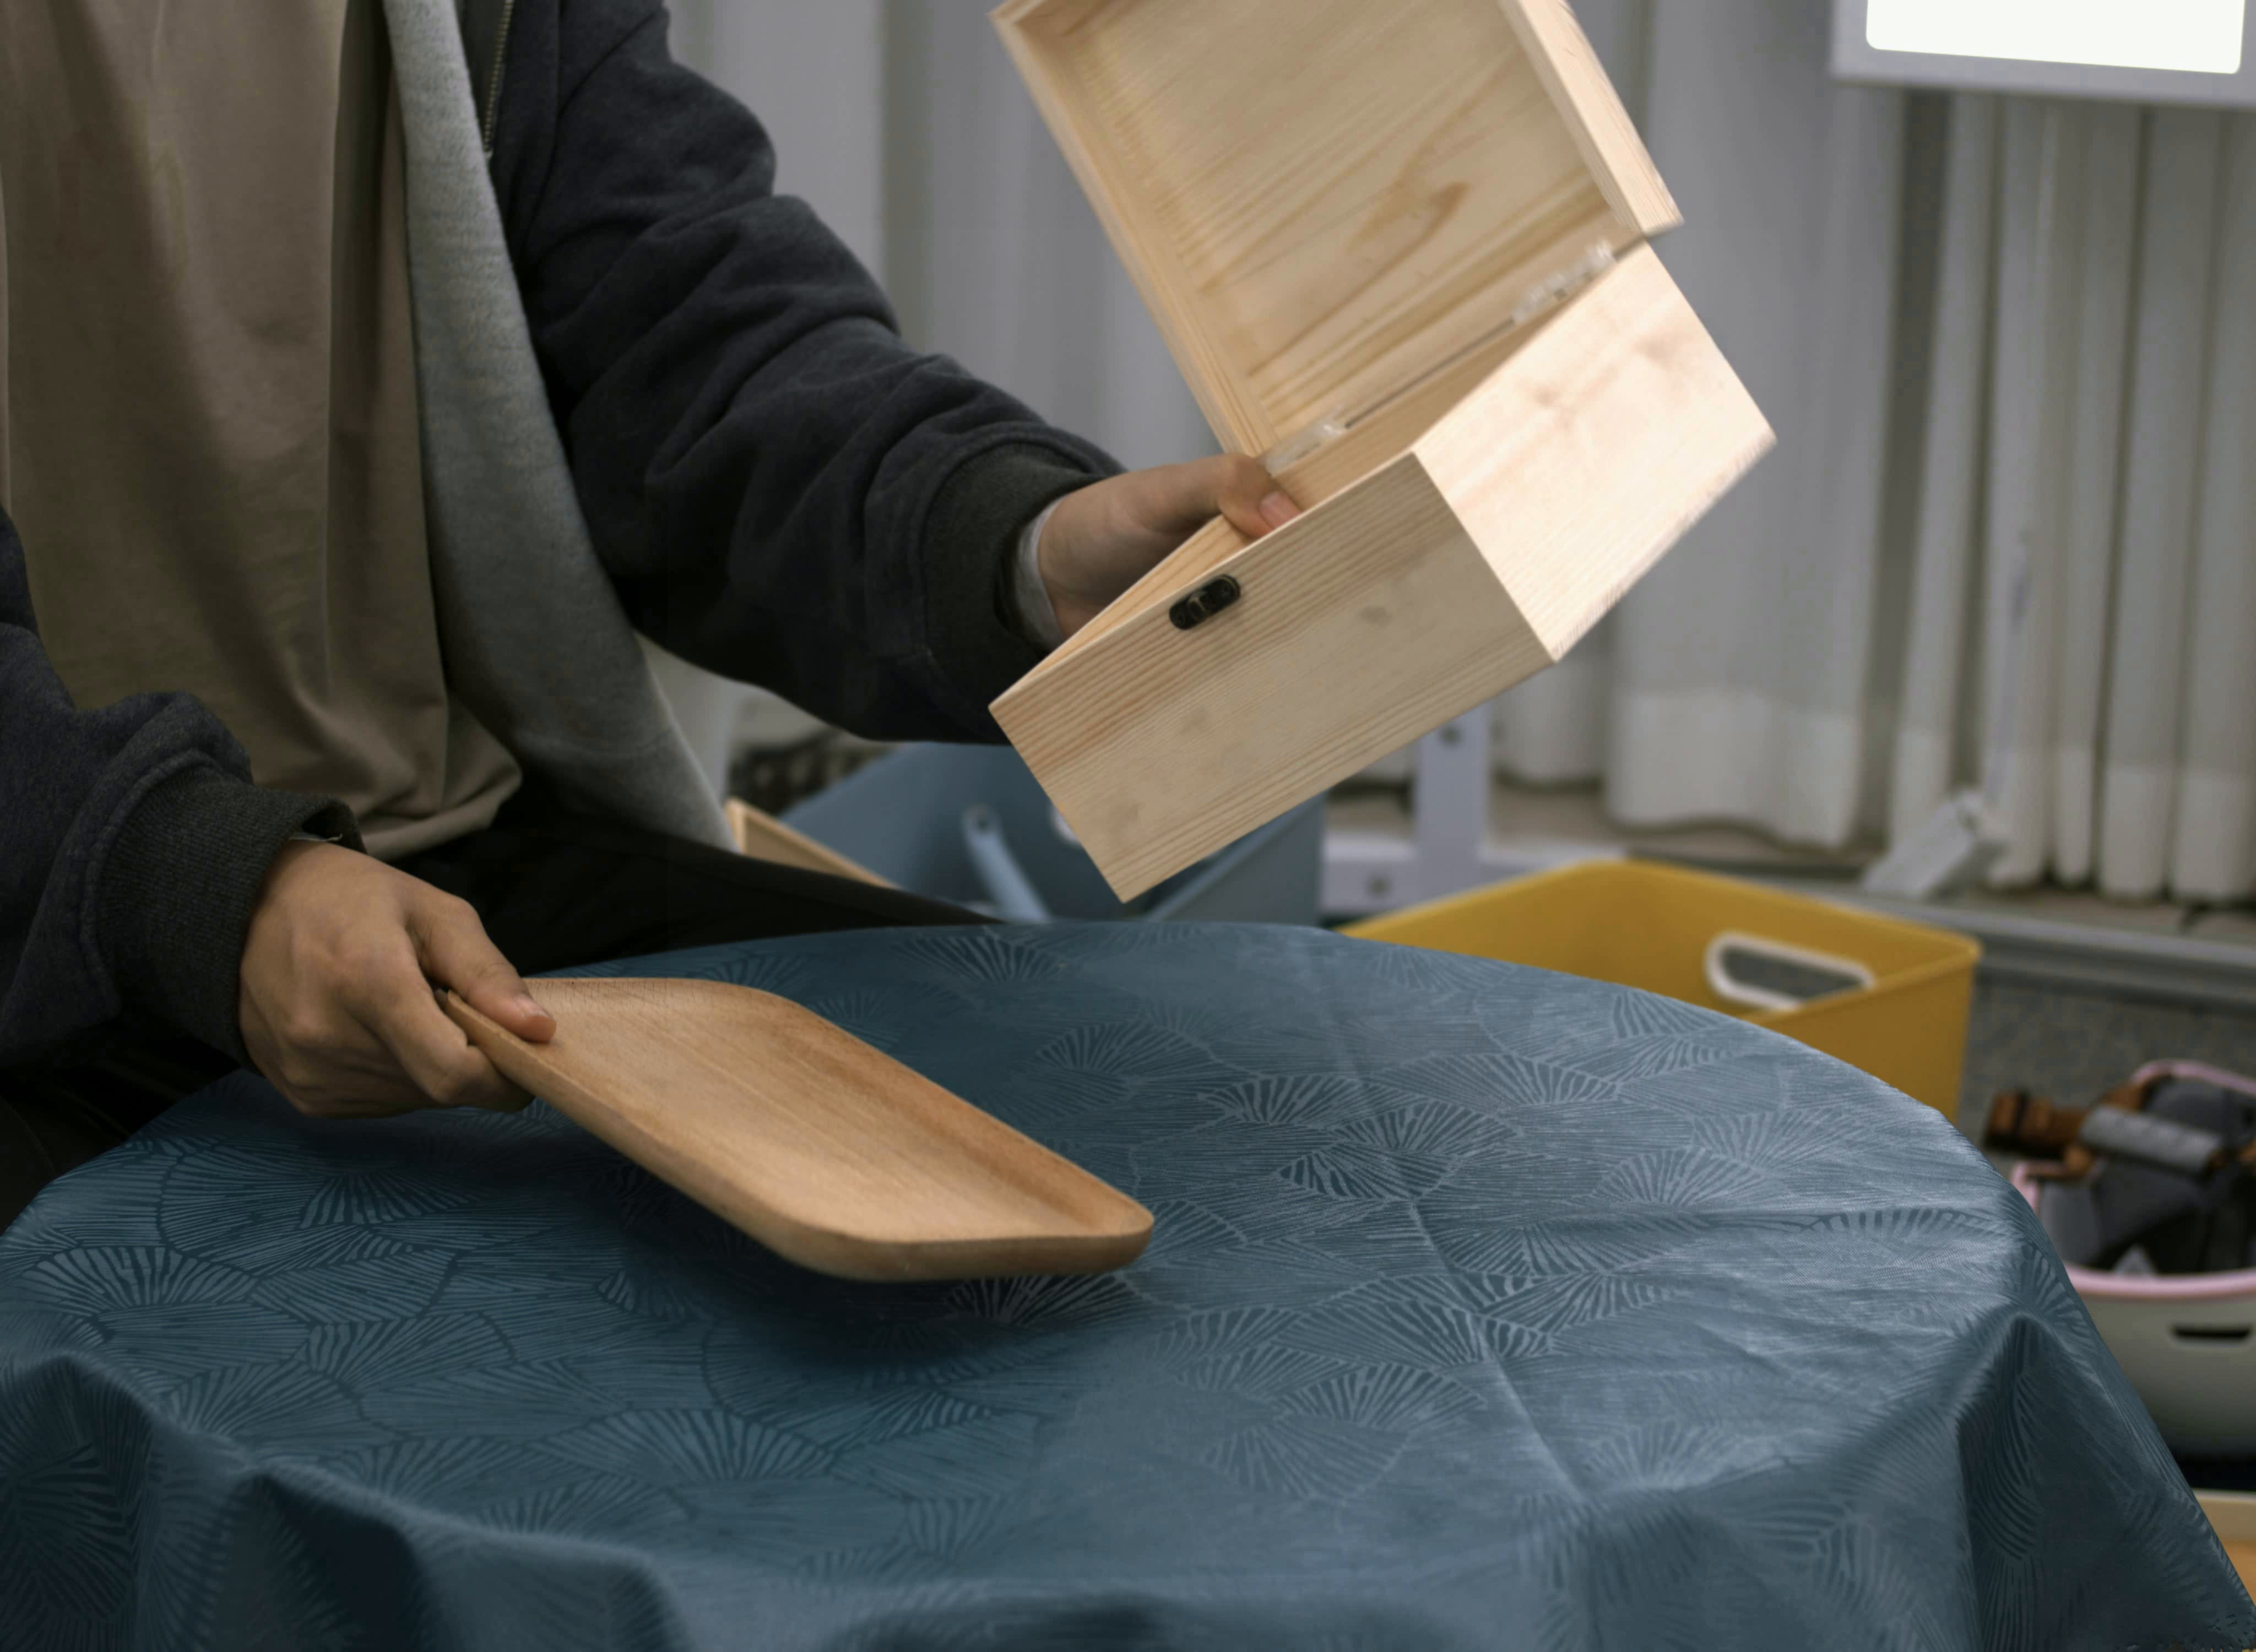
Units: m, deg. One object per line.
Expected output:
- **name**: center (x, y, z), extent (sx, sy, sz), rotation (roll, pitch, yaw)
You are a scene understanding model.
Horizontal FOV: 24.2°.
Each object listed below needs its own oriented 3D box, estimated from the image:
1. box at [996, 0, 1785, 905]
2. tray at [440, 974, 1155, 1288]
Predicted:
- **box**: center (0.050, -0.162, 1.643), extent (0.181, 0.254, 0.265), rotation (-31, 6, 36)
- **tray**: center (-0.103, 0.089, 1.578), extent (0.131, 0.023, 0.247), rotation (5, 13, -37)
